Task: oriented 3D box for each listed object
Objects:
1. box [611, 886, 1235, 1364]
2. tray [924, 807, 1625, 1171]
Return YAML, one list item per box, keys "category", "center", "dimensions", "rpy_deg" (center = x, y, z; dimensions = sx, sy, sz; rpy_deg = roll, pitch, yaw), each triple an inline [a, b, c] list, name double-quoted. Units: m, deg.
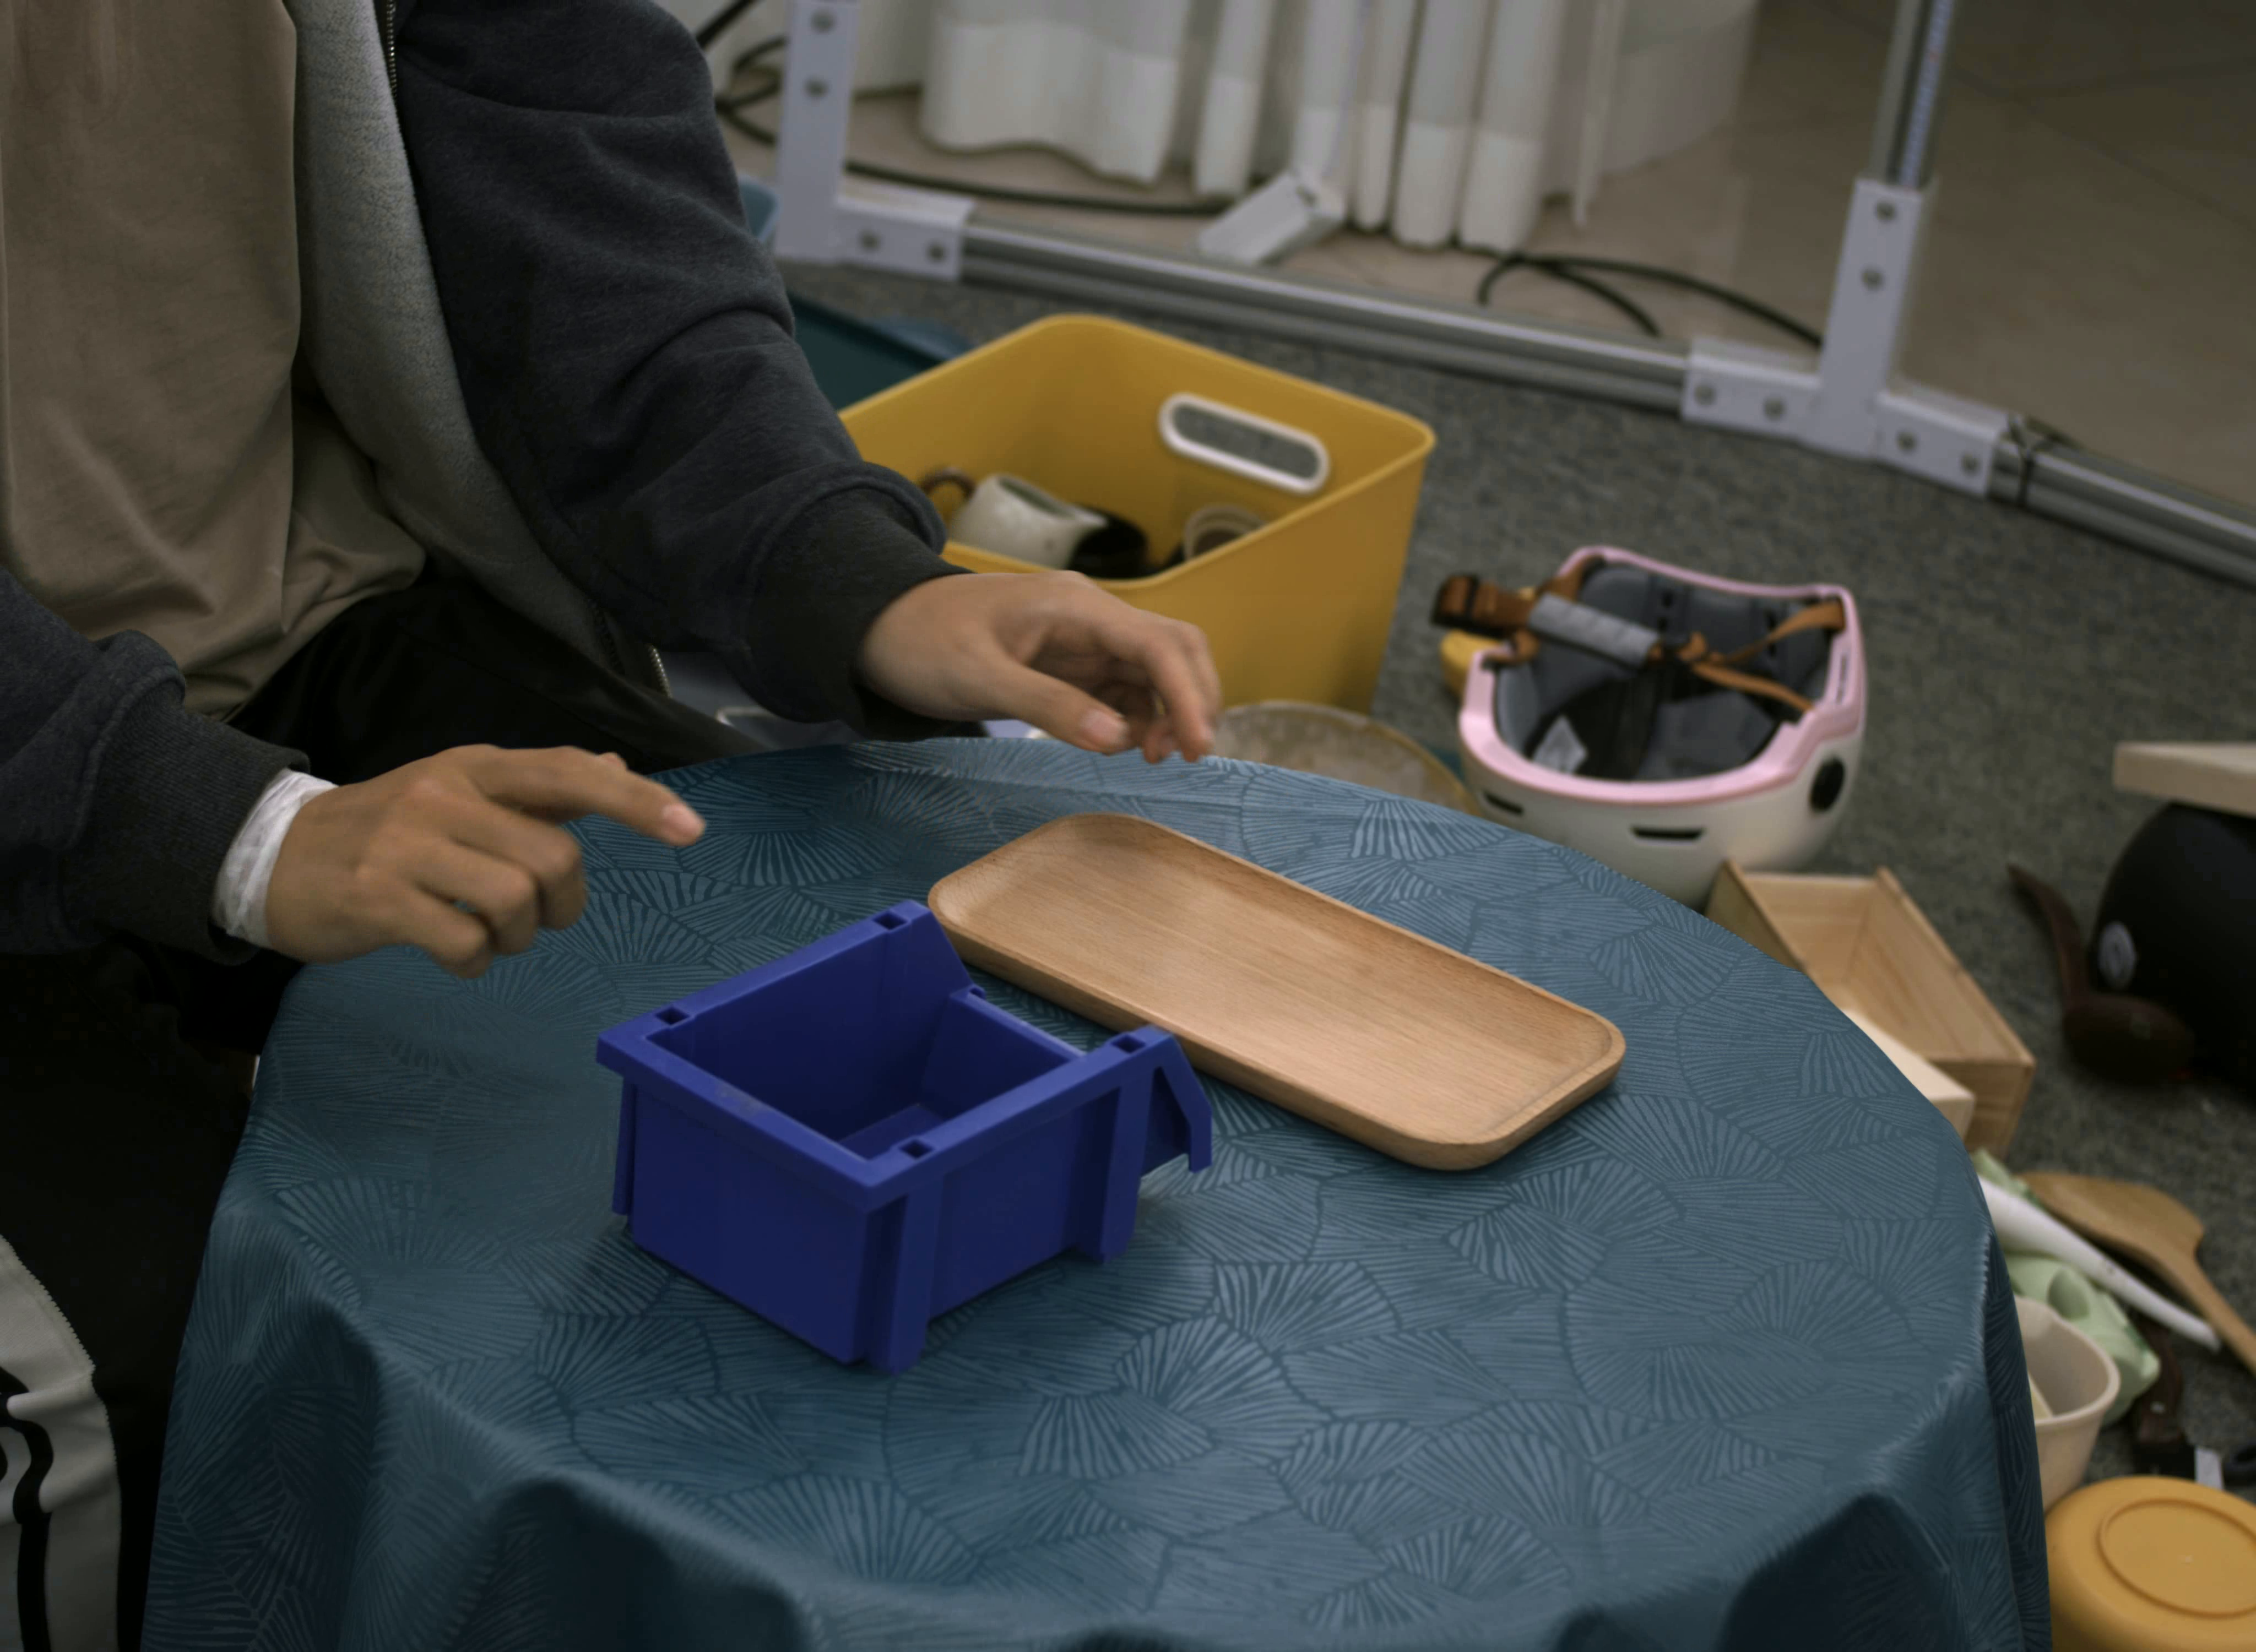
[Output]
- category: "box"
  center: [-0.067, 0.093, 1.755]
  dimensions: [0.125, 0.081, 0.178]
  rpy_deg: [27, 36, 35]
- category: "tray"
  center: [0.051, 0.057, 1.924]
  dimensions: [0.252, 0.023, 0.130]
  rpy_deg: [23, 29, 30]
